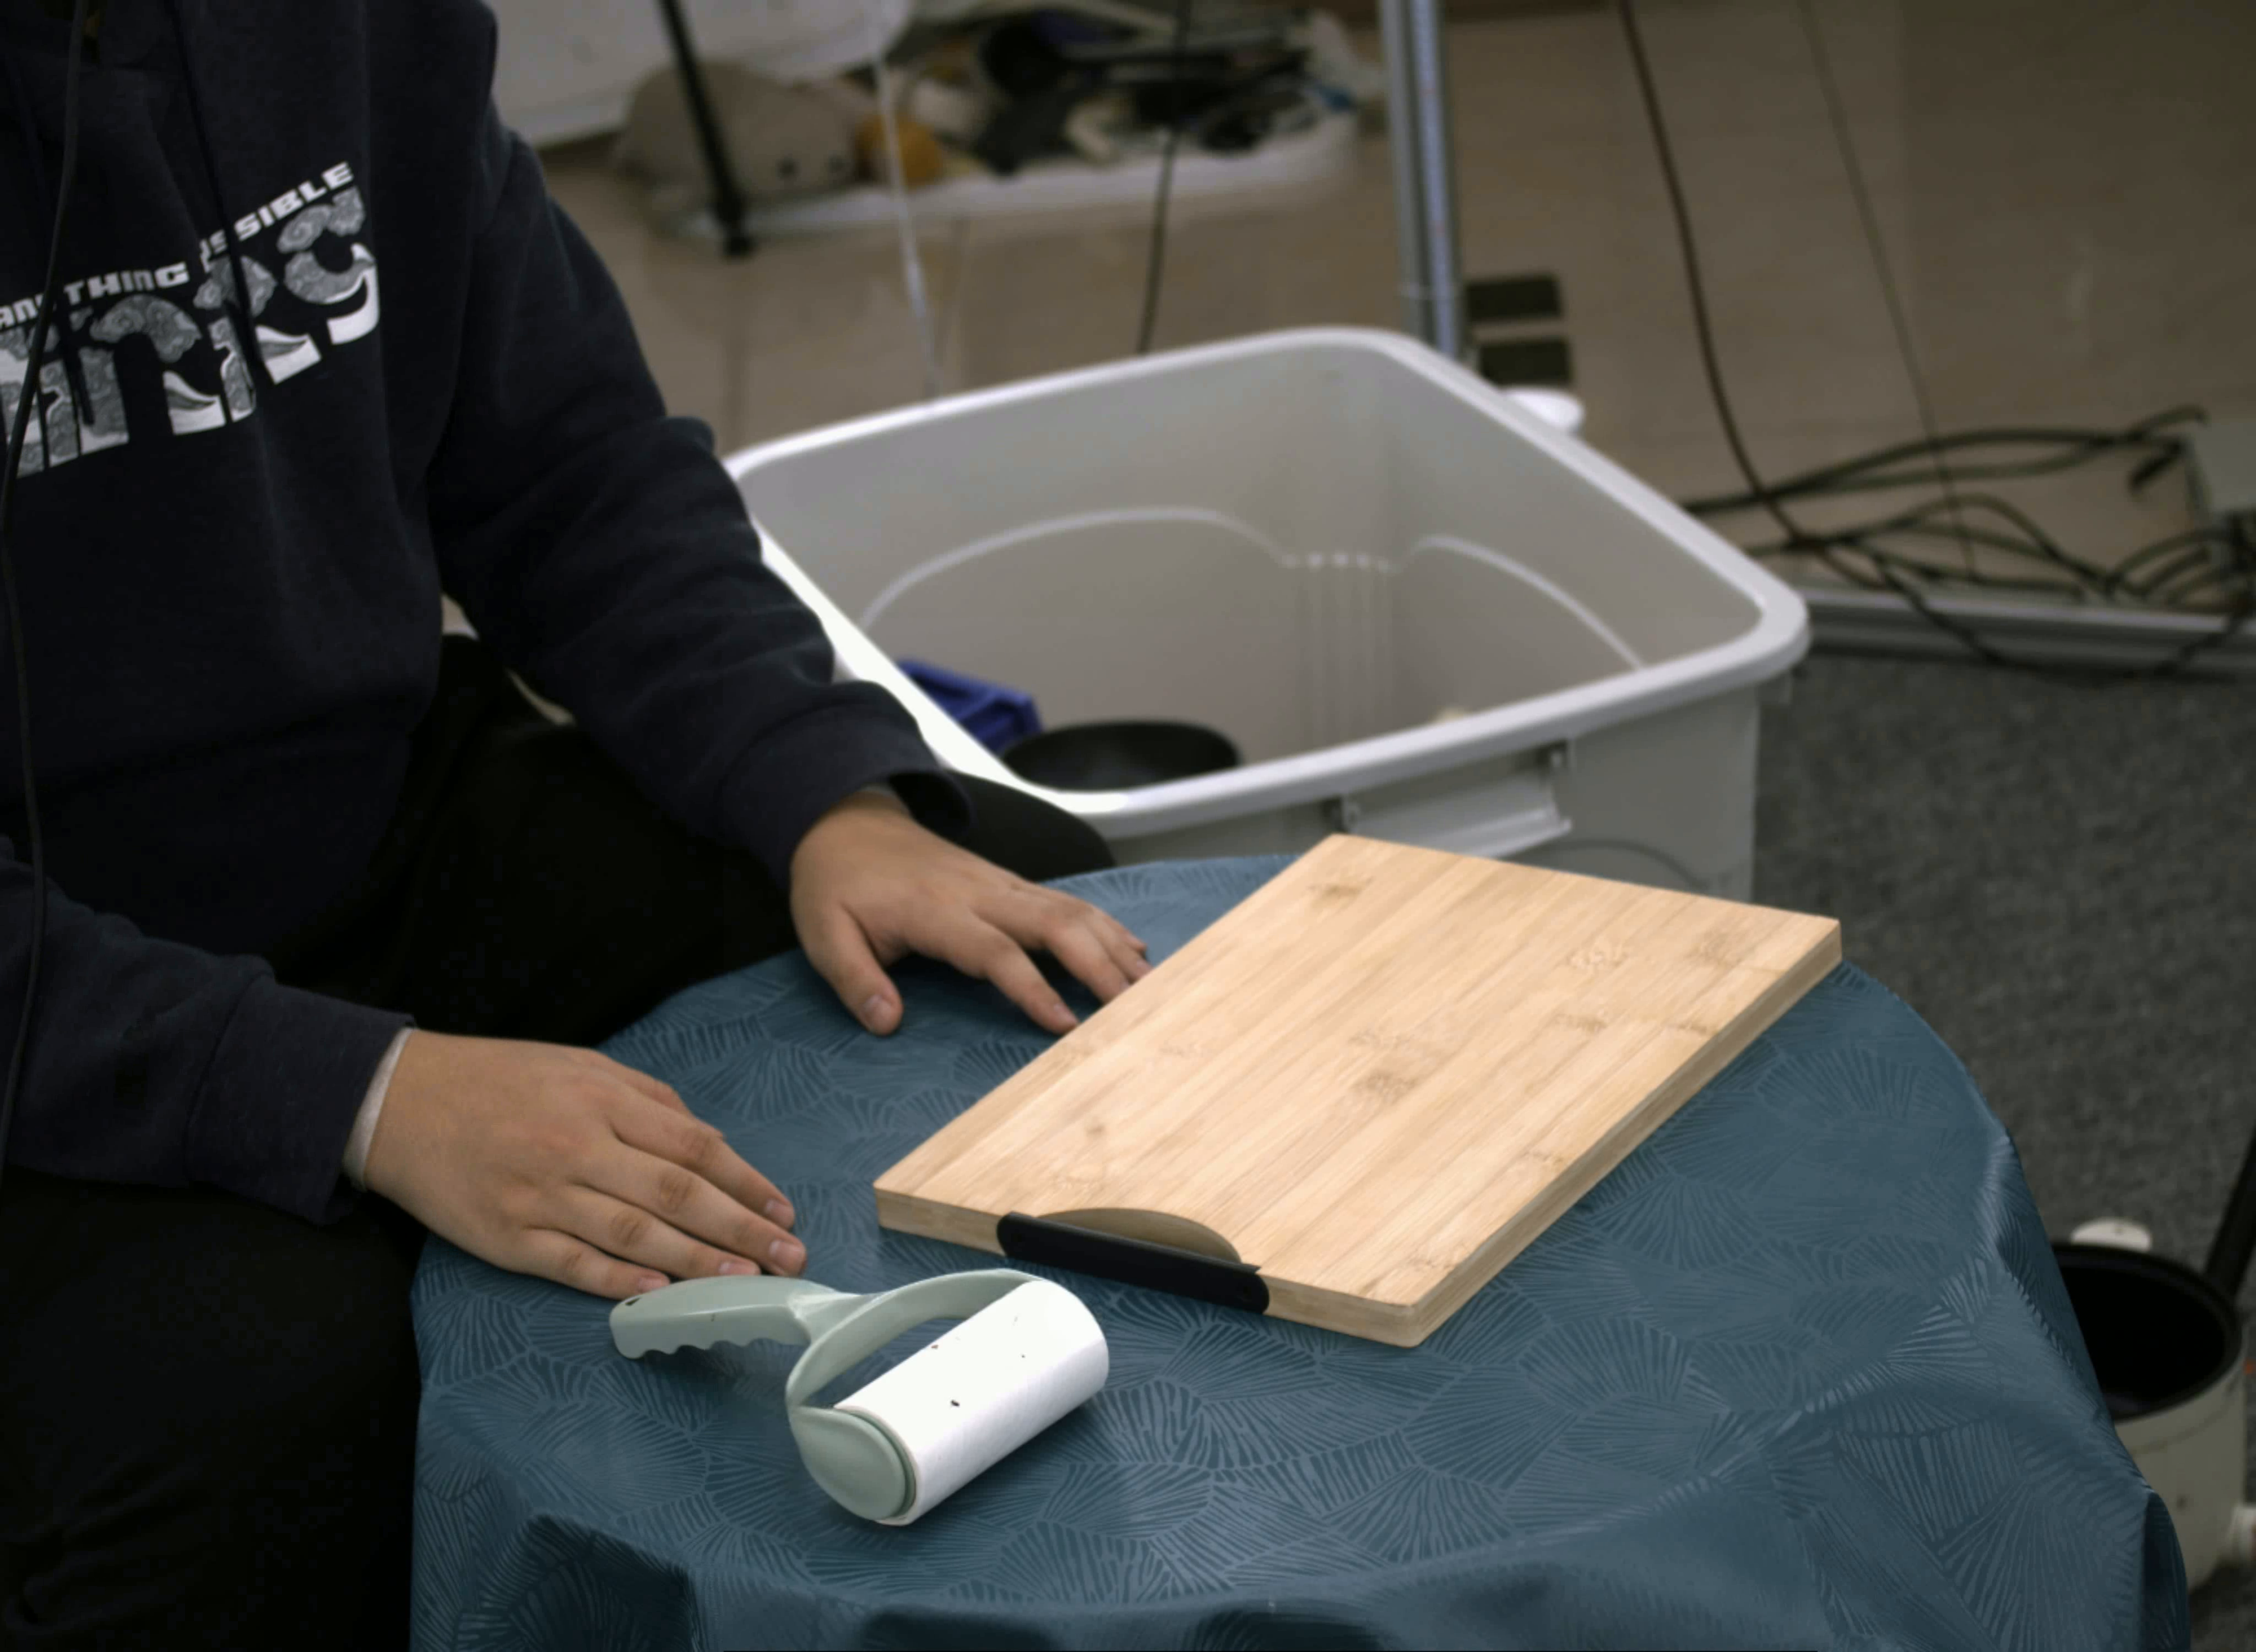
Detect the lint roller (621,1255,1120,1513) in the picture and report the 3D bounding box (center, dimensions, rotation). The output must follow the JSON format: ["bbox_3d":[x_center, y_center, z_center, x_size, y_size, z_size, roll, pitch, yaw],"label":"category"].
[{"bbox_3d":[-0.107,0.185,2.023,0.196,0.049,0.115,11,32,39],"label":"lint roller"}]

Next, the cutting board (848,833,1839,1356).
[{"bbox_3d":[0.090,0.097,2.199,0.249,0.024,0.345,9,29,32],"label":"cutting board"}]
